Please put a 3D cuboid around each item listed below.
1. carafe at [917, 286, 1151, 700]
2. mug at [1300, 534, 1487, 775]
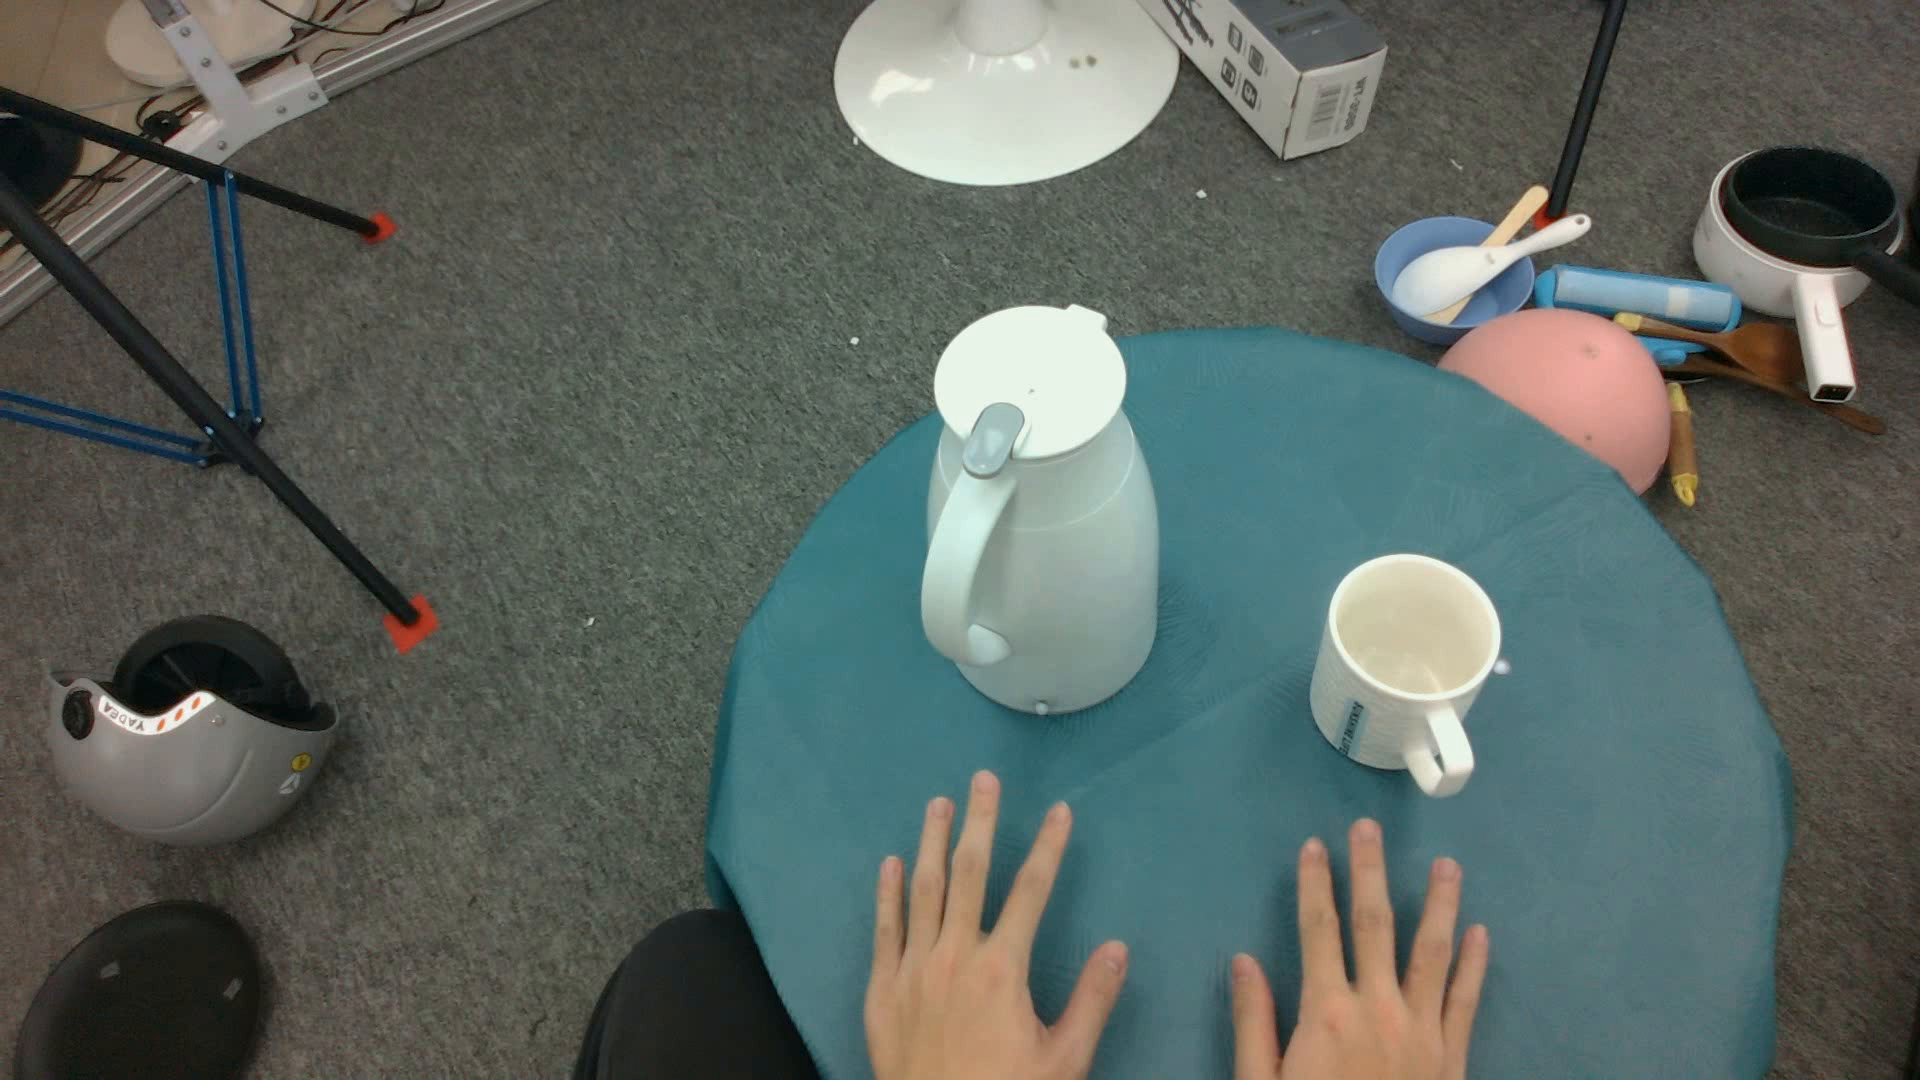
[{"bbox_3d":[0.031,-0.009,0.740,0.132,0.247,0.168,22,64,17],"label":"carafe"},{"bbox_3d":[0.240,0.072,0.754,0.085,0.101,0.118,-14,58,-3],"label":"mug"}]
